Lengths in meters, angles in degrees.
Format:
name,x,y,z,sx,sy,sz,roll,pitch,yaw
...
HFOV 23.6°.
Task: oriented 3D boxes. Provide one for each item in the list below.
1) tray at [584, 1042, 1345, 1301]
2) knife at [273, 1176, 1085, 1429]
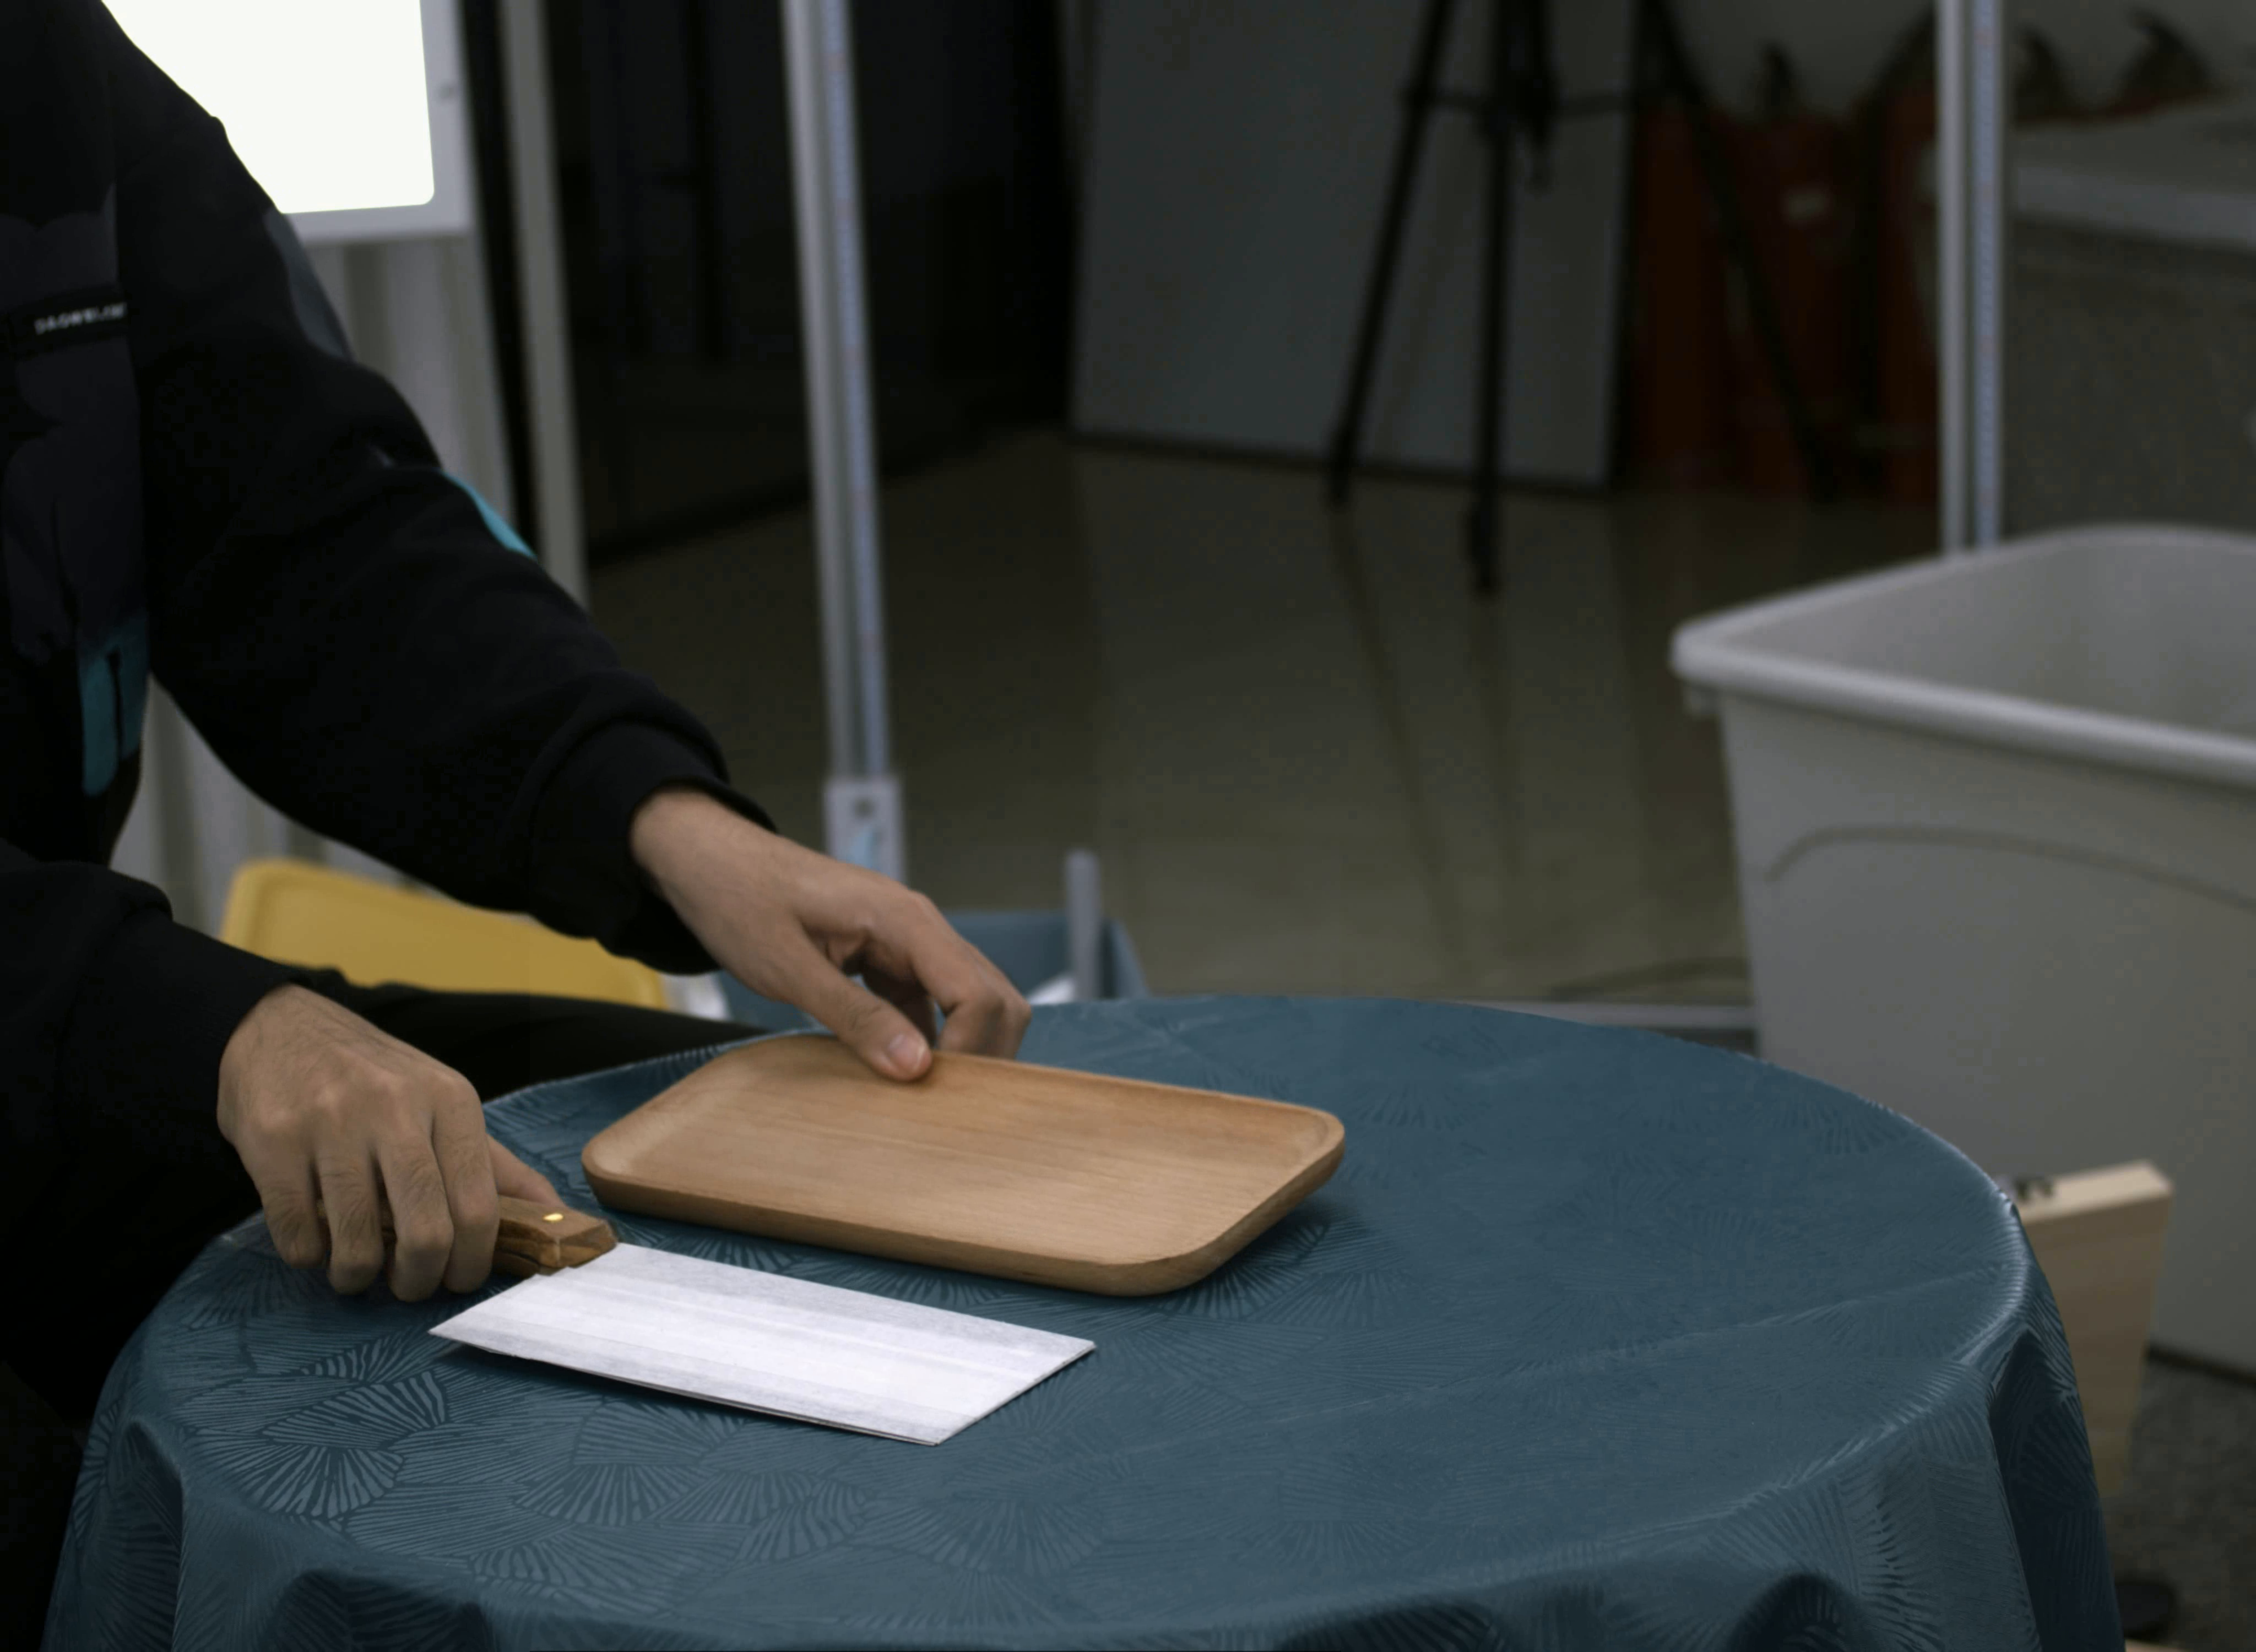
name,x,y,z,sx,sy,sz,roll,pitch,yaw
tray,-0.055,0.112,1.768,0.252,0.023,0.128,5,21,37
knife,-0.158,0.150,1.671,0.307,0.021,0.091,8,19,33
